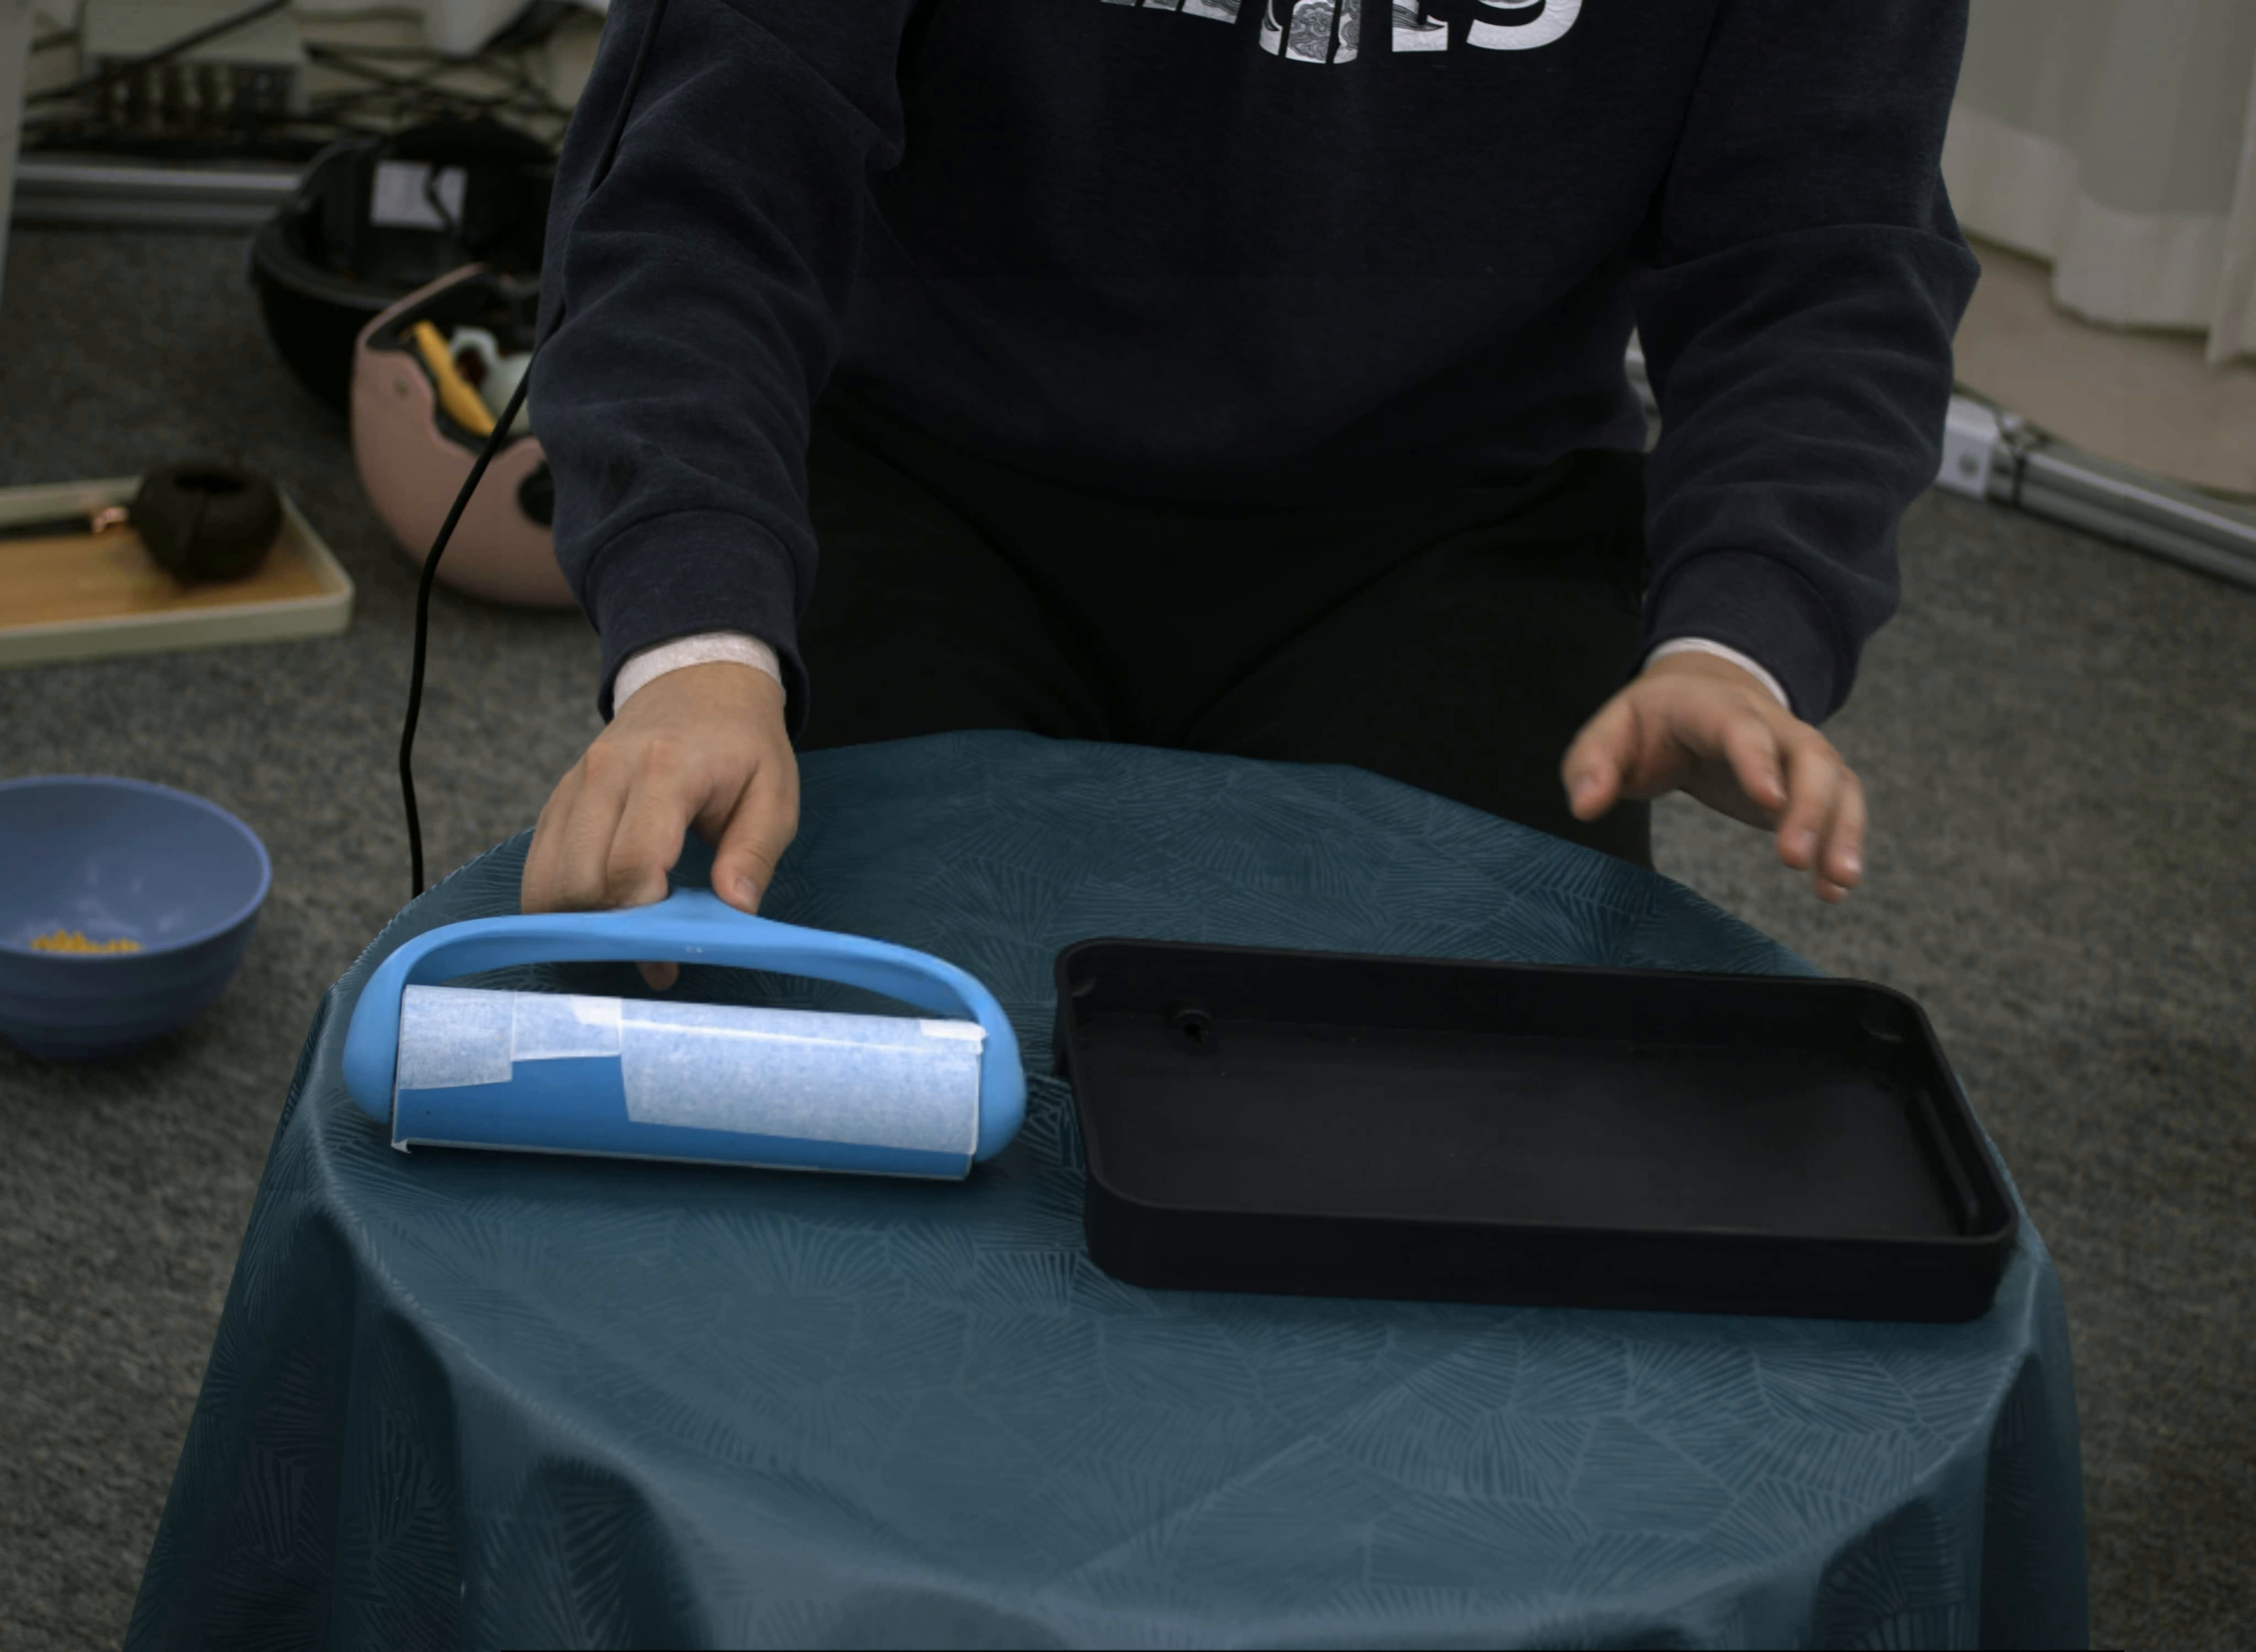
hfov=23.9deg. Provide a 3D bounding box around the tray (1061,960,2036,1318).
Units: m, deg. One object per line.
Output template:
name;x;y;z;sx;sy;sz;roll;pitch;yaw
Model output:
tray;0.140;0.107;1.840;0.316;0.037;0.185;1;27;-7

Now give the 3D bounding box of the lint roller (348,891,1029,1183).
lint roller;-0.152;0.057;1.836;0.228;0.067;0.181;2;29;-6
